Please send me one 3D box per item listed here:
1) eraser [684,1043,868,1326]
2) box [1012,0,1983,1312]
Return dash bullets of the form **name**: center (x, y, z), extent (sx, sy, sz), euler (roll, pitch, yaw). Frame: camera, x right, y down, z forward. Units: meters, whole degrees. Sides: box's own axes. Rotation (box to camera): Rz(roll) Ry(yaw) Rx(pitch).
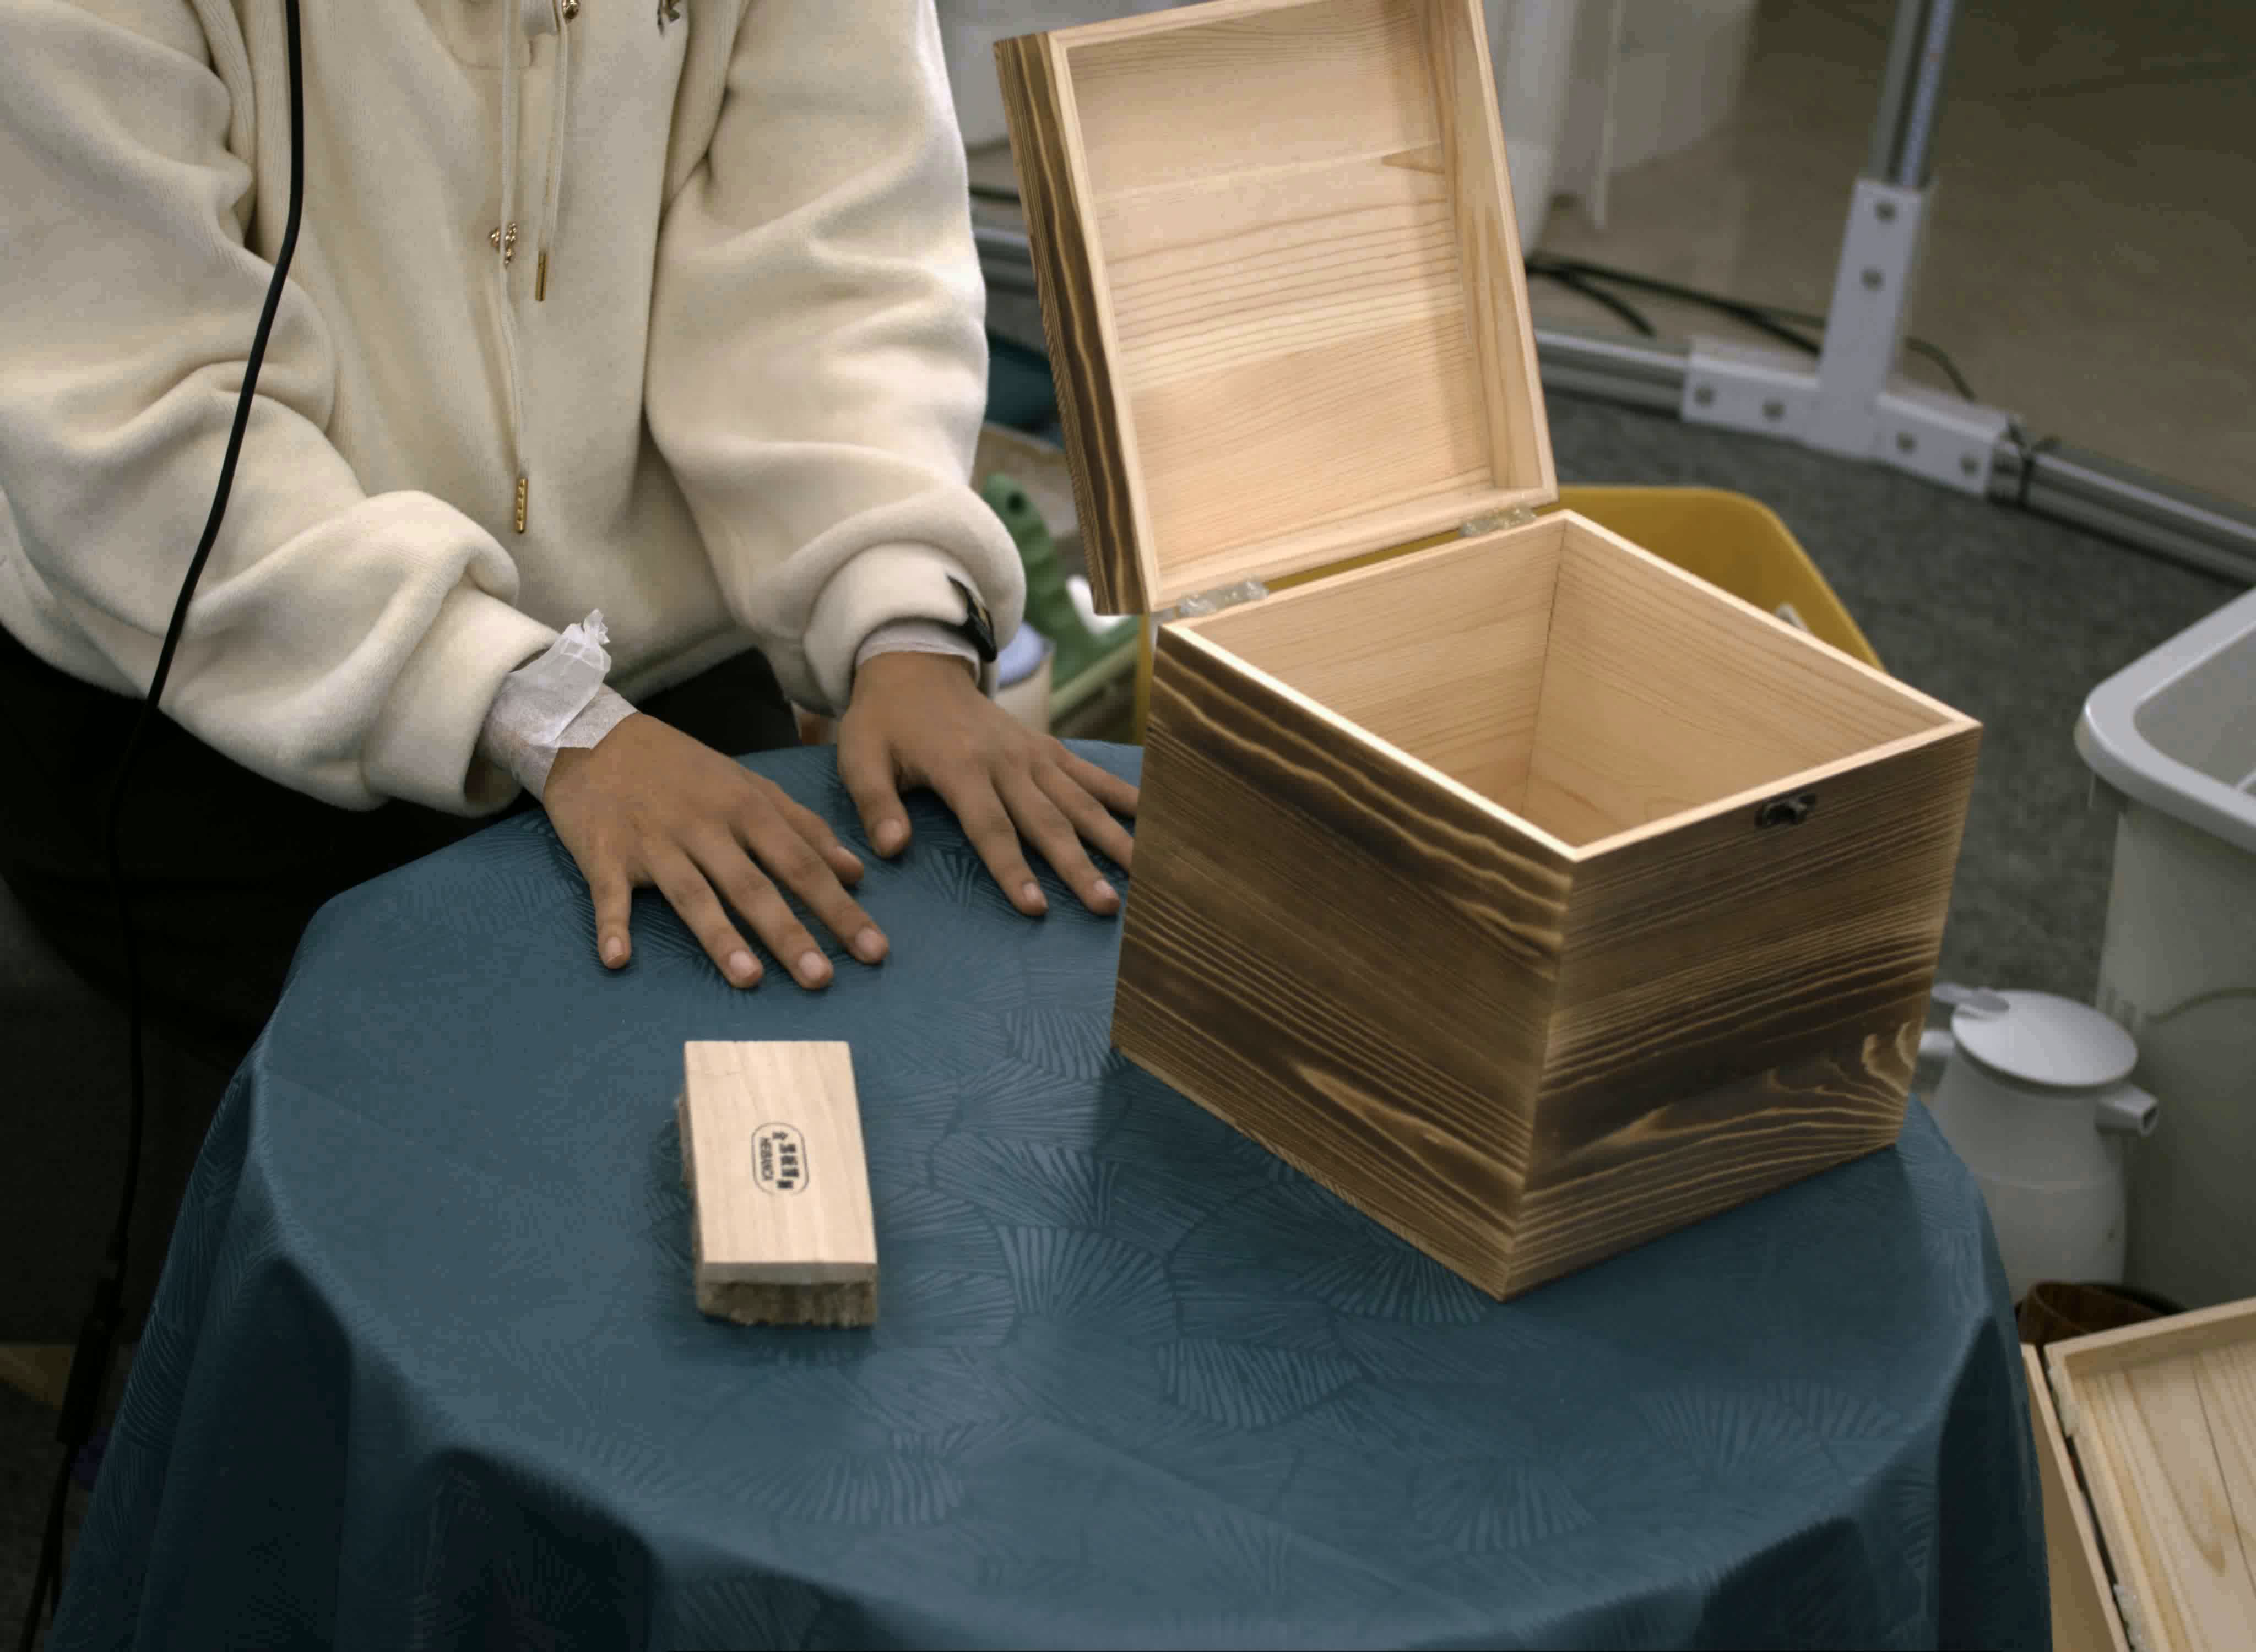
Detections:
- **eraser**: center (-0.117, 0.117, 1.757), extent (0.057, 0.029, 0.140), euler (1, 27, -6)
- **box**: center (0.117, -0.084, 1.836), extent (0.207, 0.374, 0.325), euler (-18, 36, -38)
